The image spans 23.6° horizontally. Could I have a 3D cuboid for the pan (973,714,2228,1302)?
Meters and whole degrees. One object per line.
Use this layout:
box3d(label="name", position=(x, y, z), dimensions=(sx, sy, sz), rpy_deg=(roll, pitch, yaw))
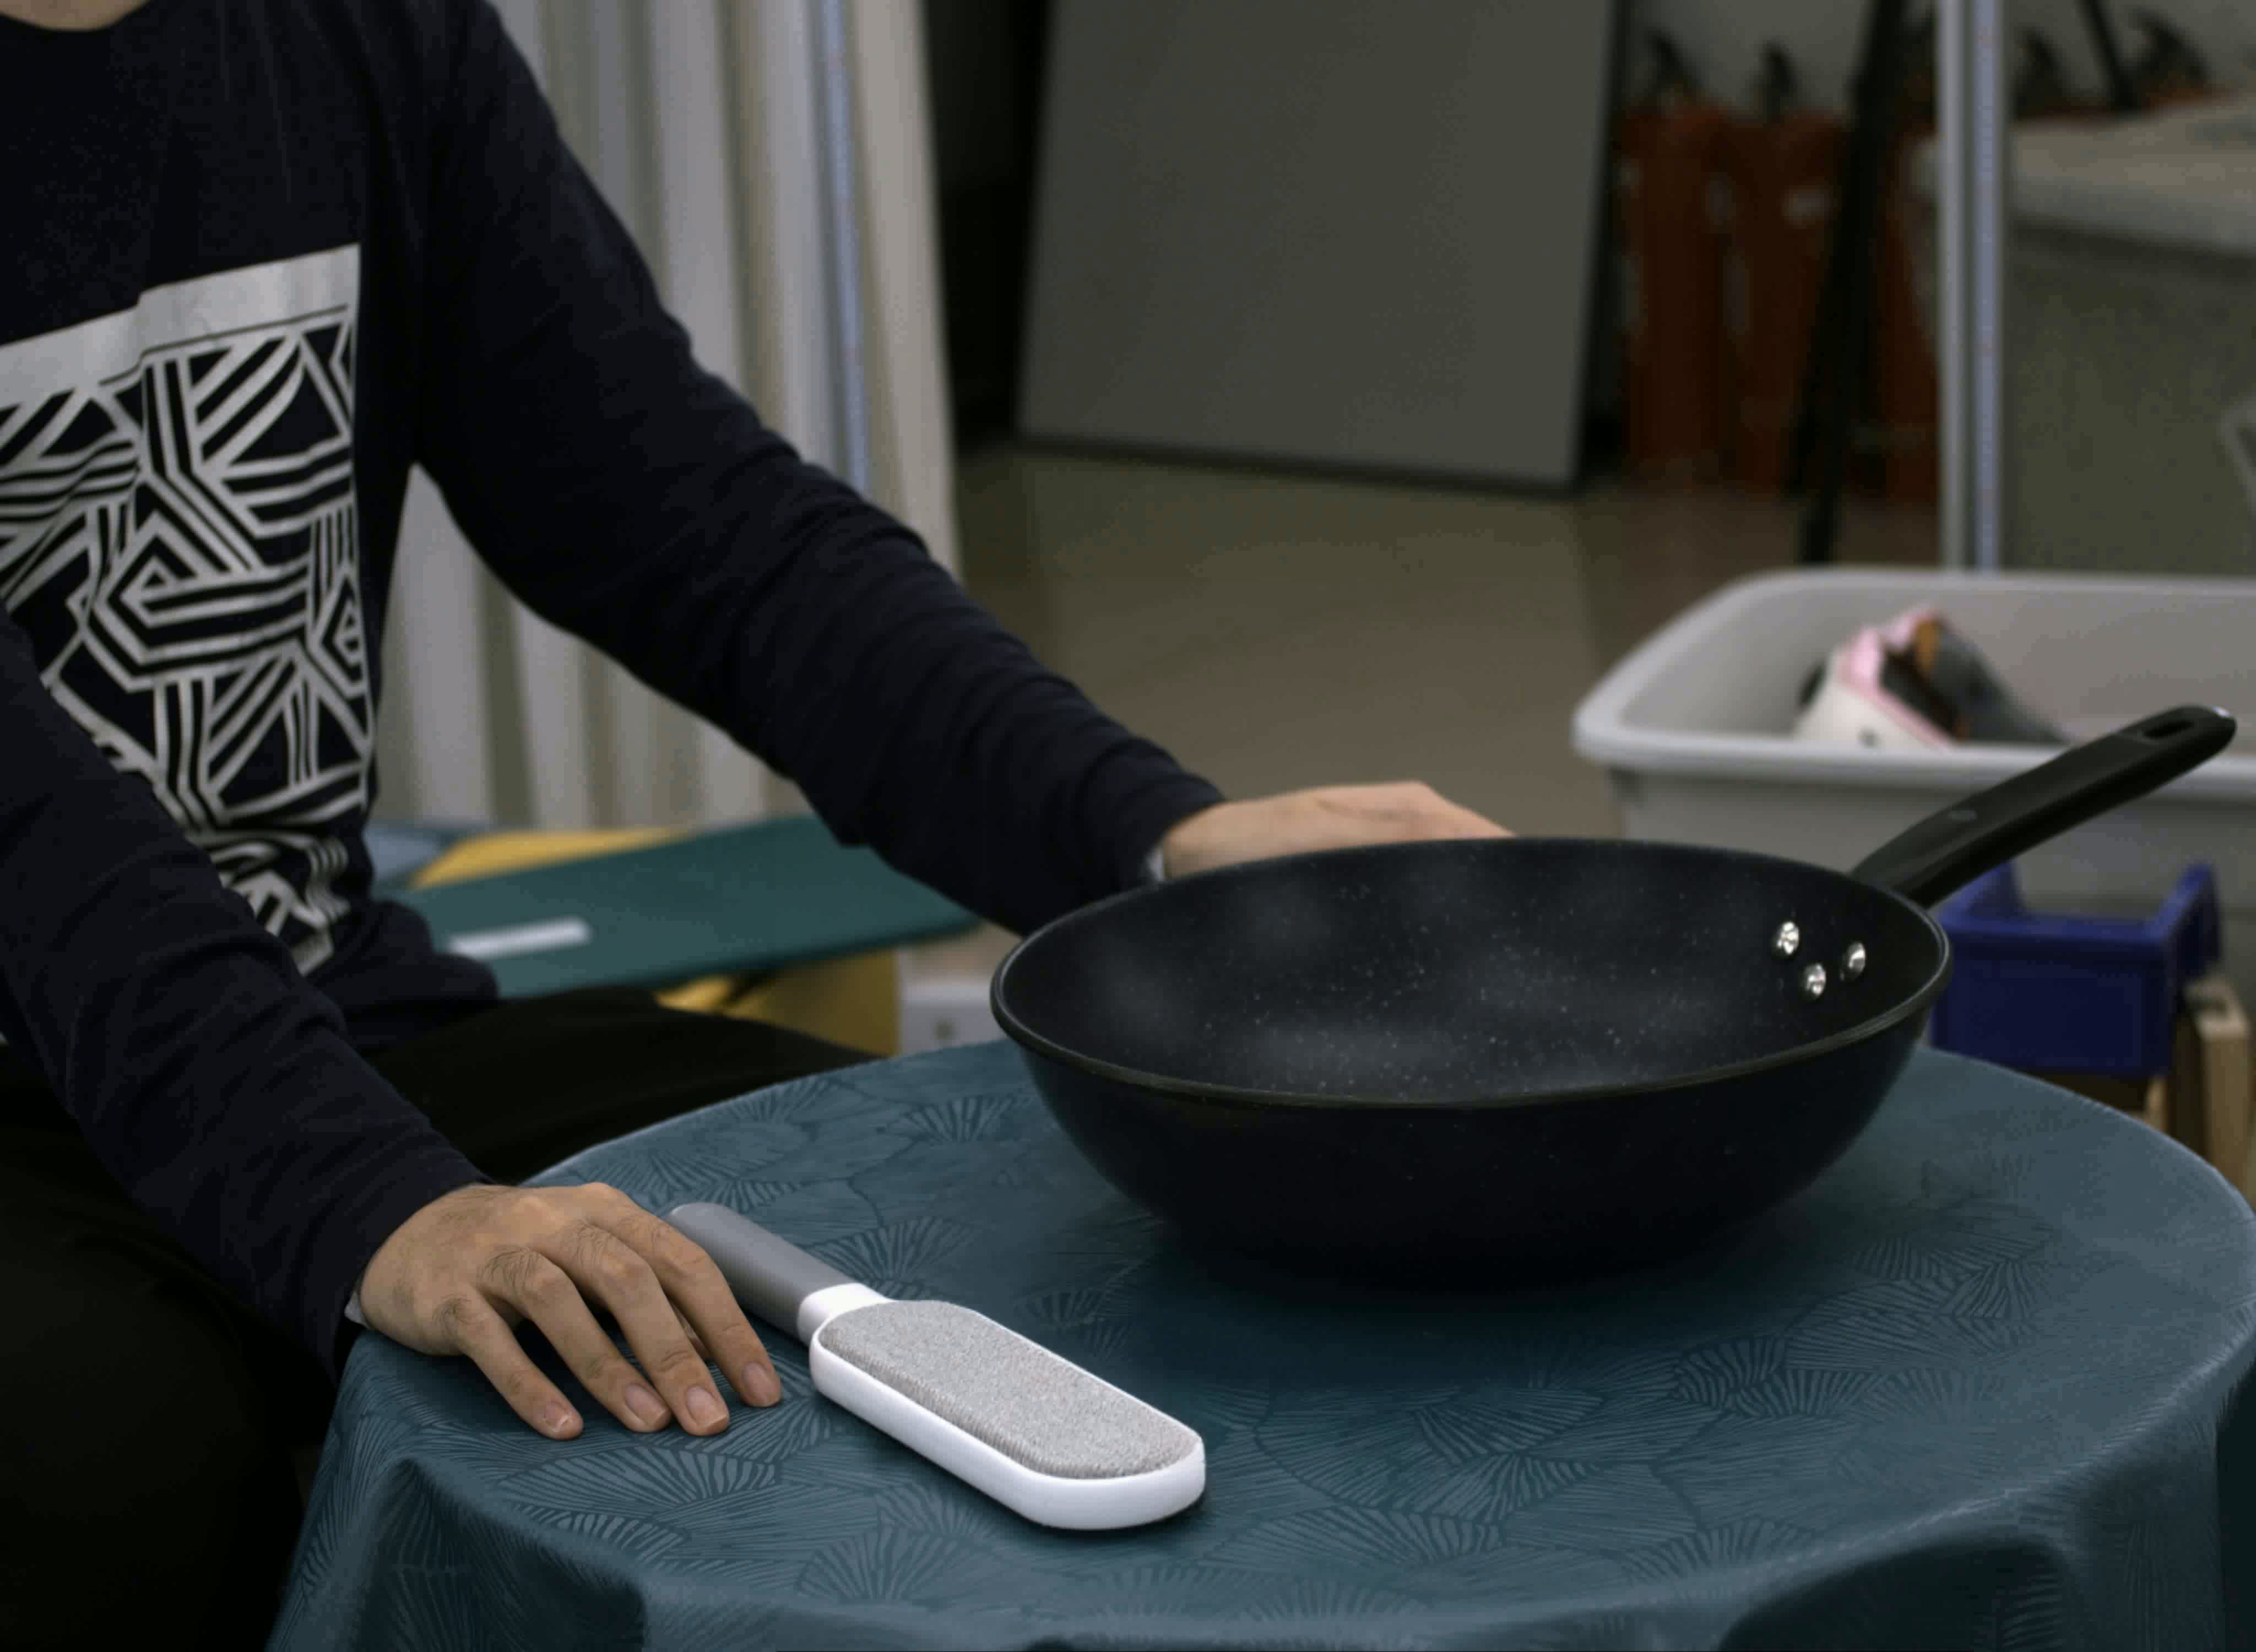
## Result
box3d(label="pan", position=(0.175, 0.058, 1.754), dimensions=(0.466, 0.113, 0.313), rpy_deg=(-12, 17, -29))

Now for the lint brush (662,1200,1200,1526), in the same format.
box3d(label="lint brush", position=(-0.067, 0.154, 1.601), dimensions=(0.059, 0.021, 0.312), rpy_deg=(-18, 18, -25))
